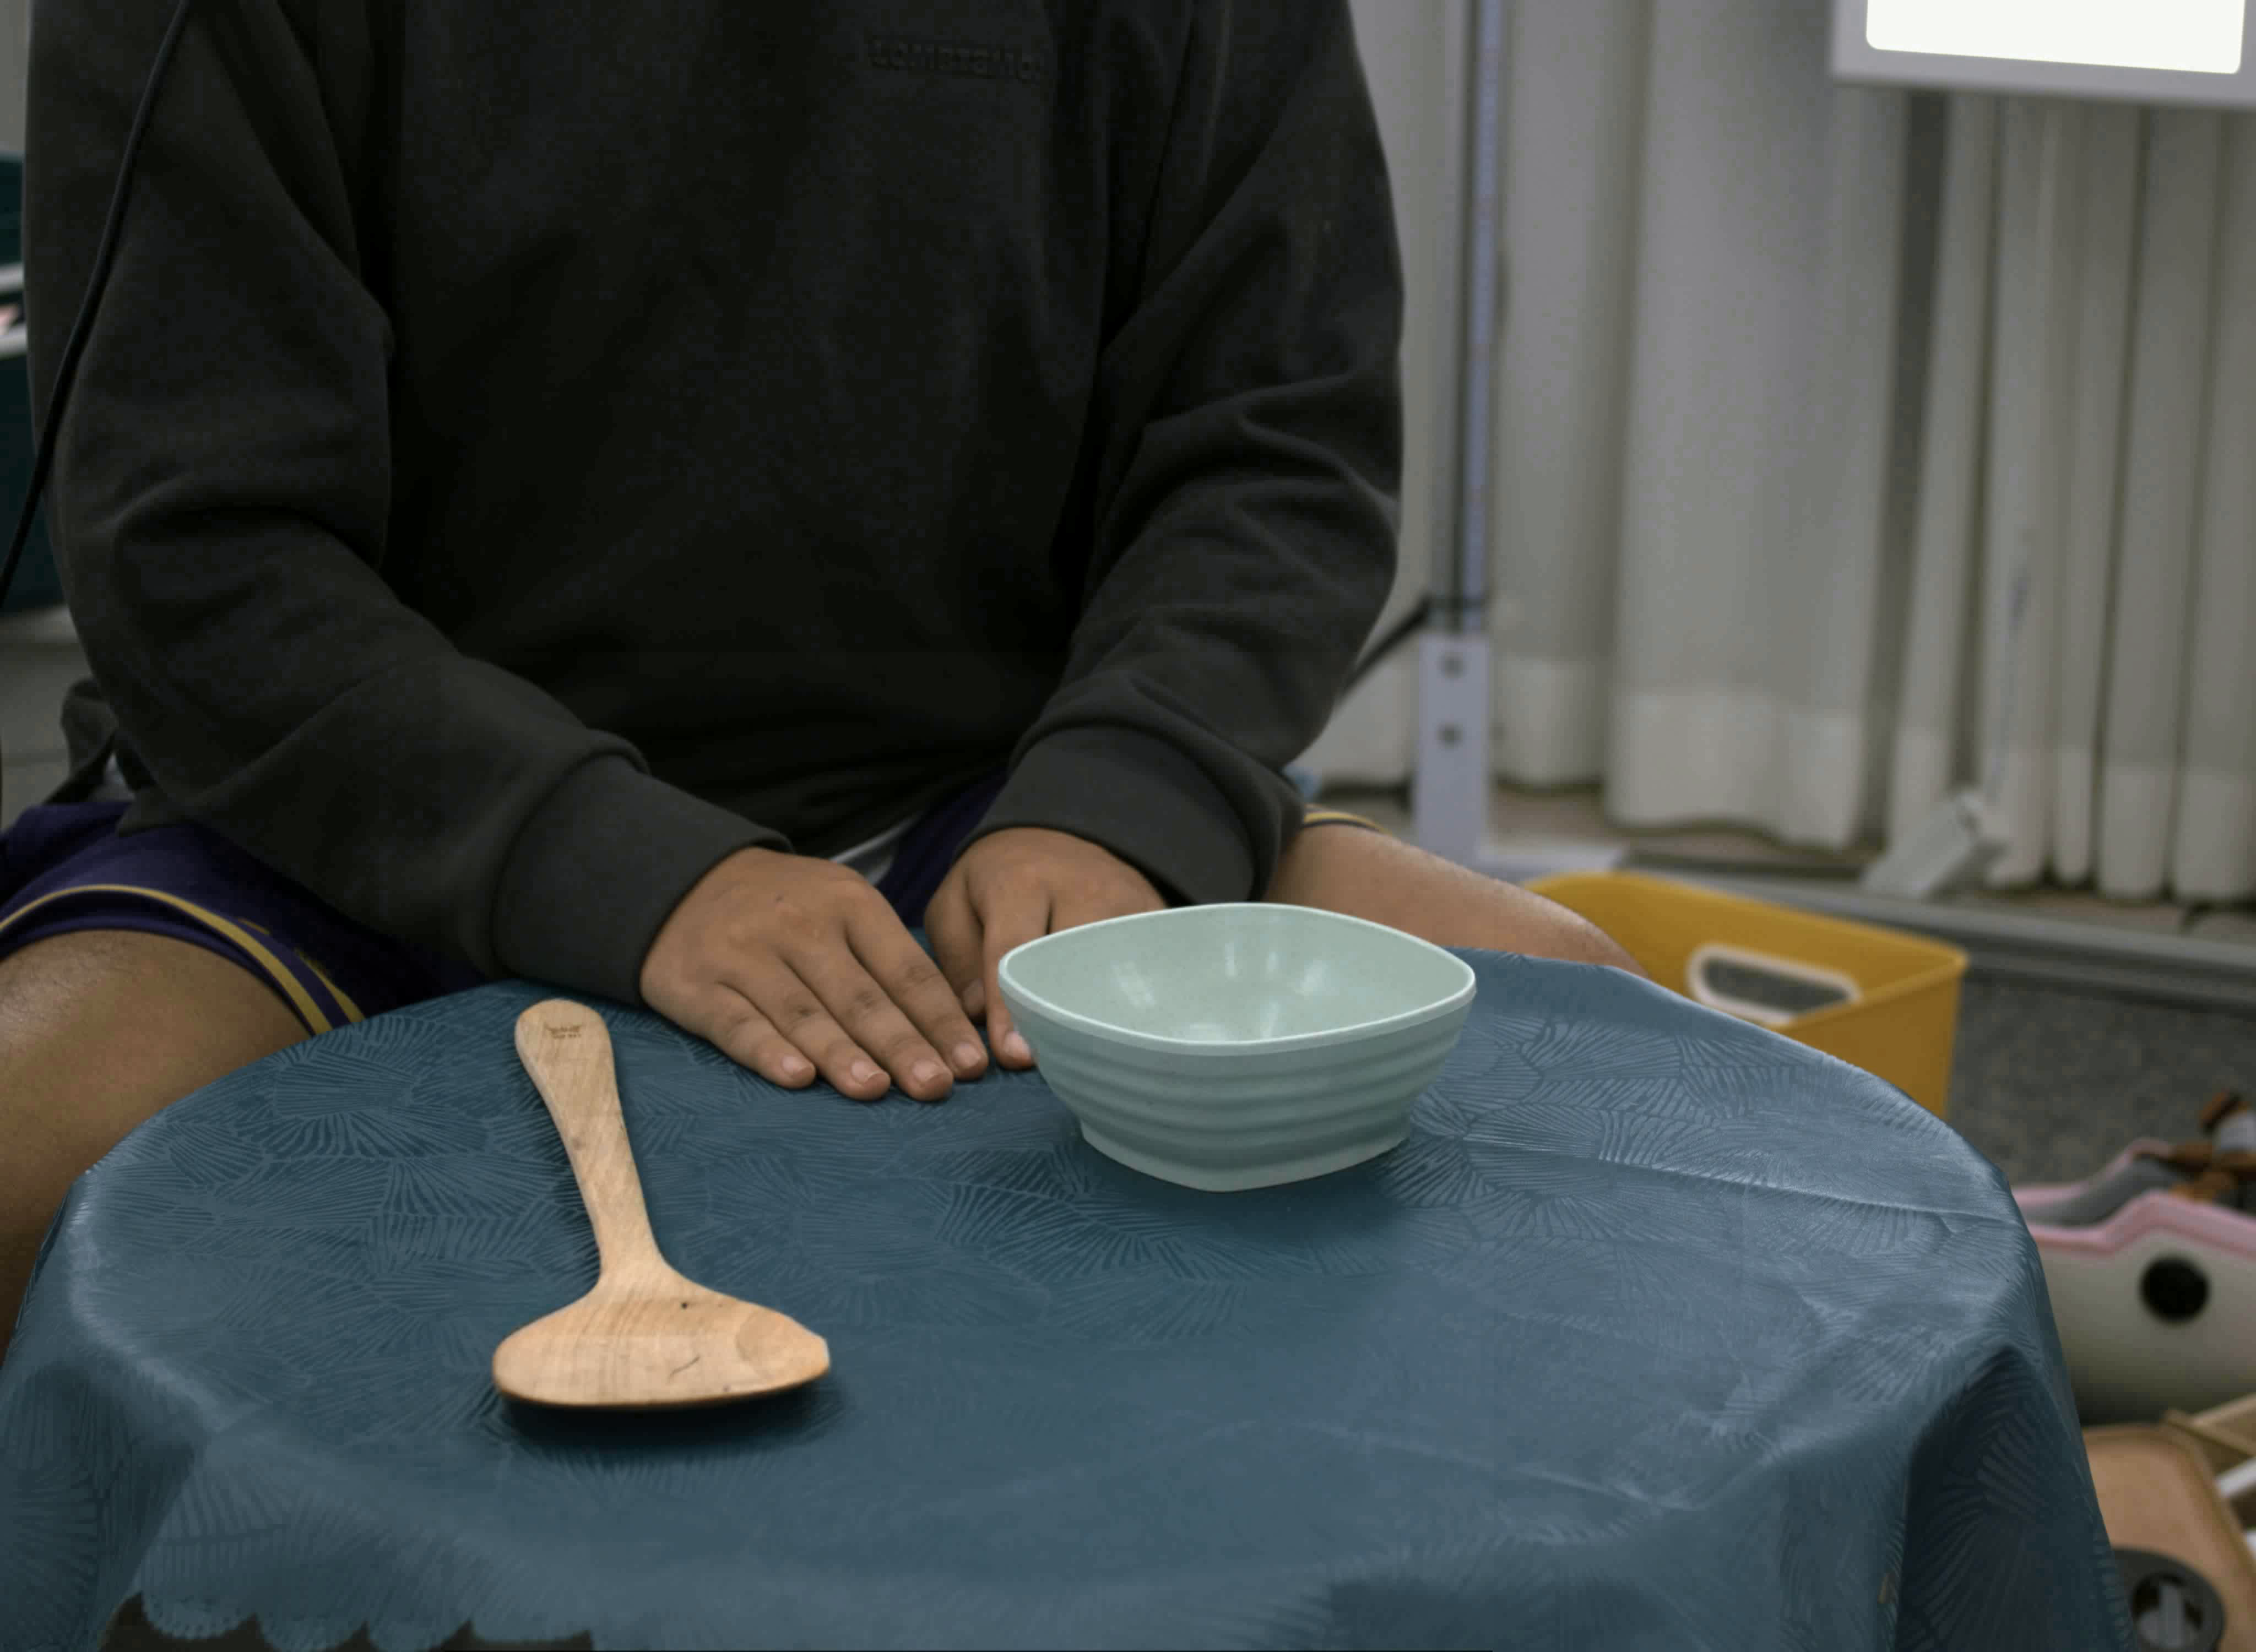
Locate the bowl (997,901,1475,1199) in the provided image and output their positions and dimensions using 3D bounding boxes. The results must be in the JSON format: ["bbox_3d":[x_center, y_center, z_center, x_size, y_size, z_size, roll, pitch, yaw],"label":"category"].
[{"bbox_3d":[0.033,0.074,1.662,0.151,0.059,0.150,2,17,0],"label":"bowl"}]

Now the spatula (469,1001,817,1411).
[{"bbox_3d":[-0.163,0.109,1.594,0.096,0.018,0.387,-1,16,-11],"label":"spatula"}]
